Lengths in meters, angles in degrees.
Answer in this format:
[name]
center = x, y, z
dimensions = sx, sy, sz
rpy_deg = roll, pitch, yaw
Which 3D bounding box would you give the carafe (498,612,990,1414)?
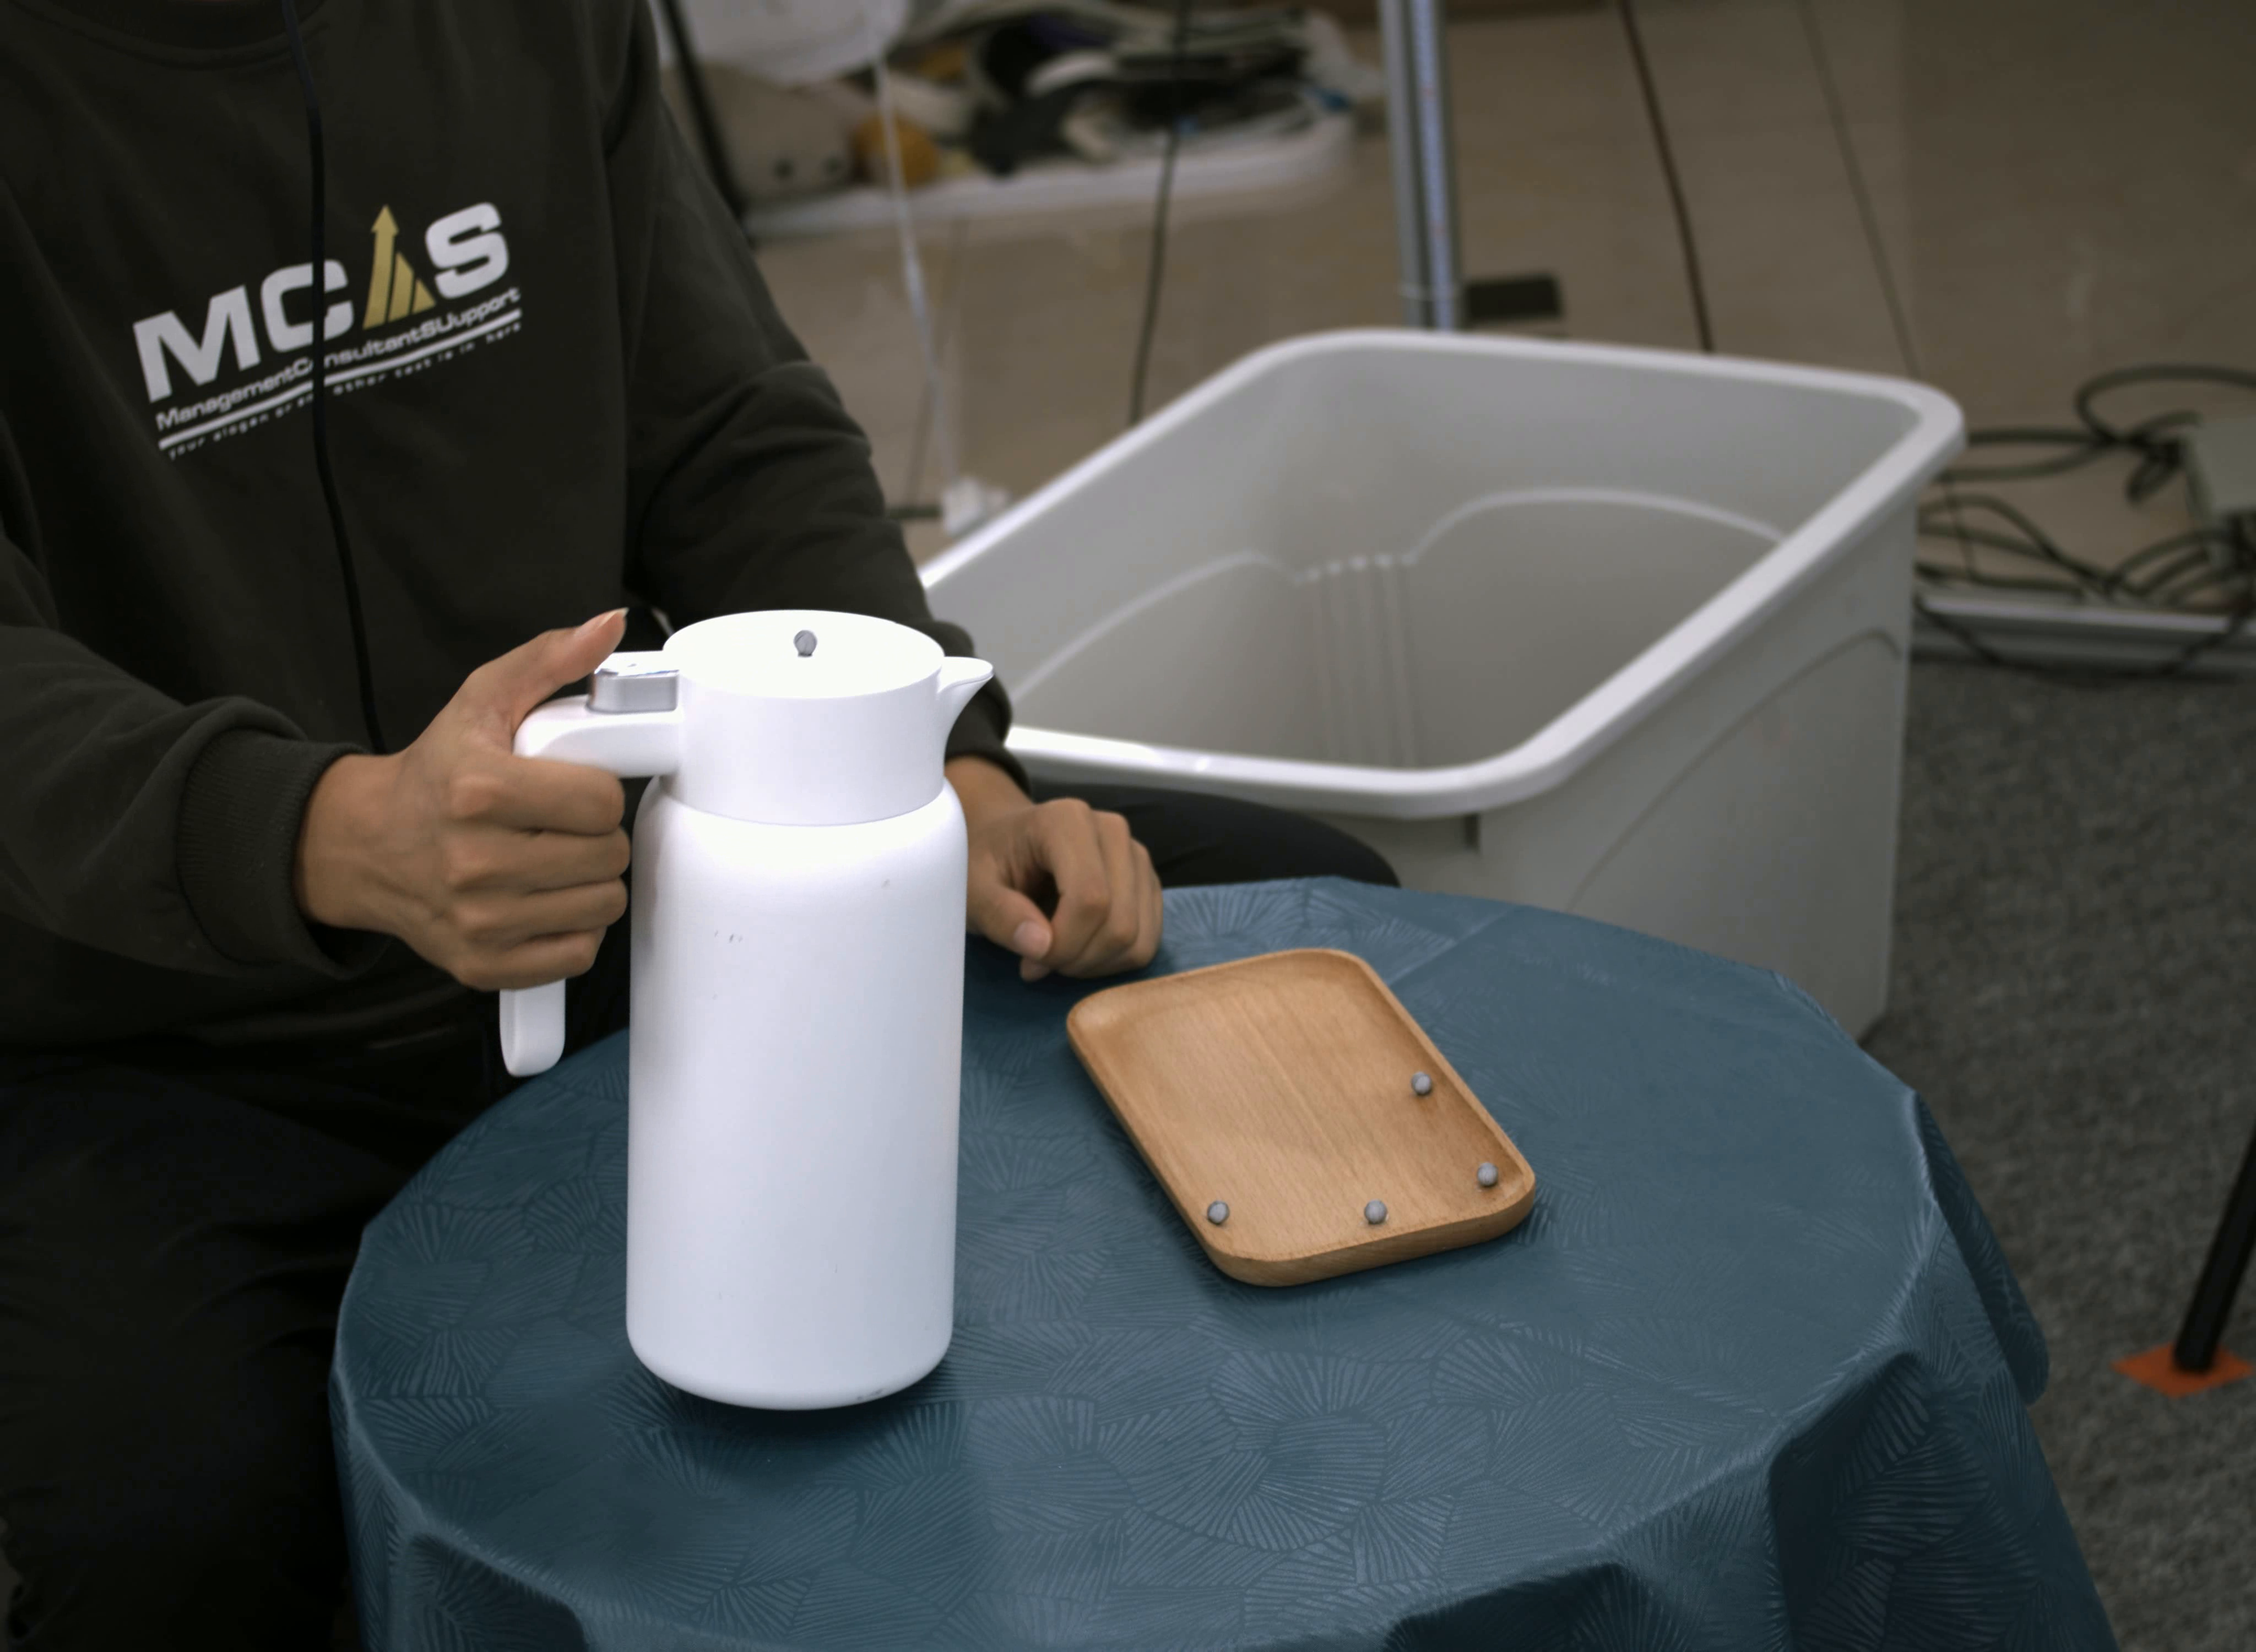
[carafe]
center = -0.134, 0.067, 1.987
dimensions = 0.172, 0.273, 0.122
rpy_deg = -5, 24, -17

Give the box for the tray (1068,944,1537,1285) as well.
[tray]
center = 0.064, 0.109, 2.178
dimensions = 0.130, 0.023, 0.247
rpy_deg = -9, 24, -12
